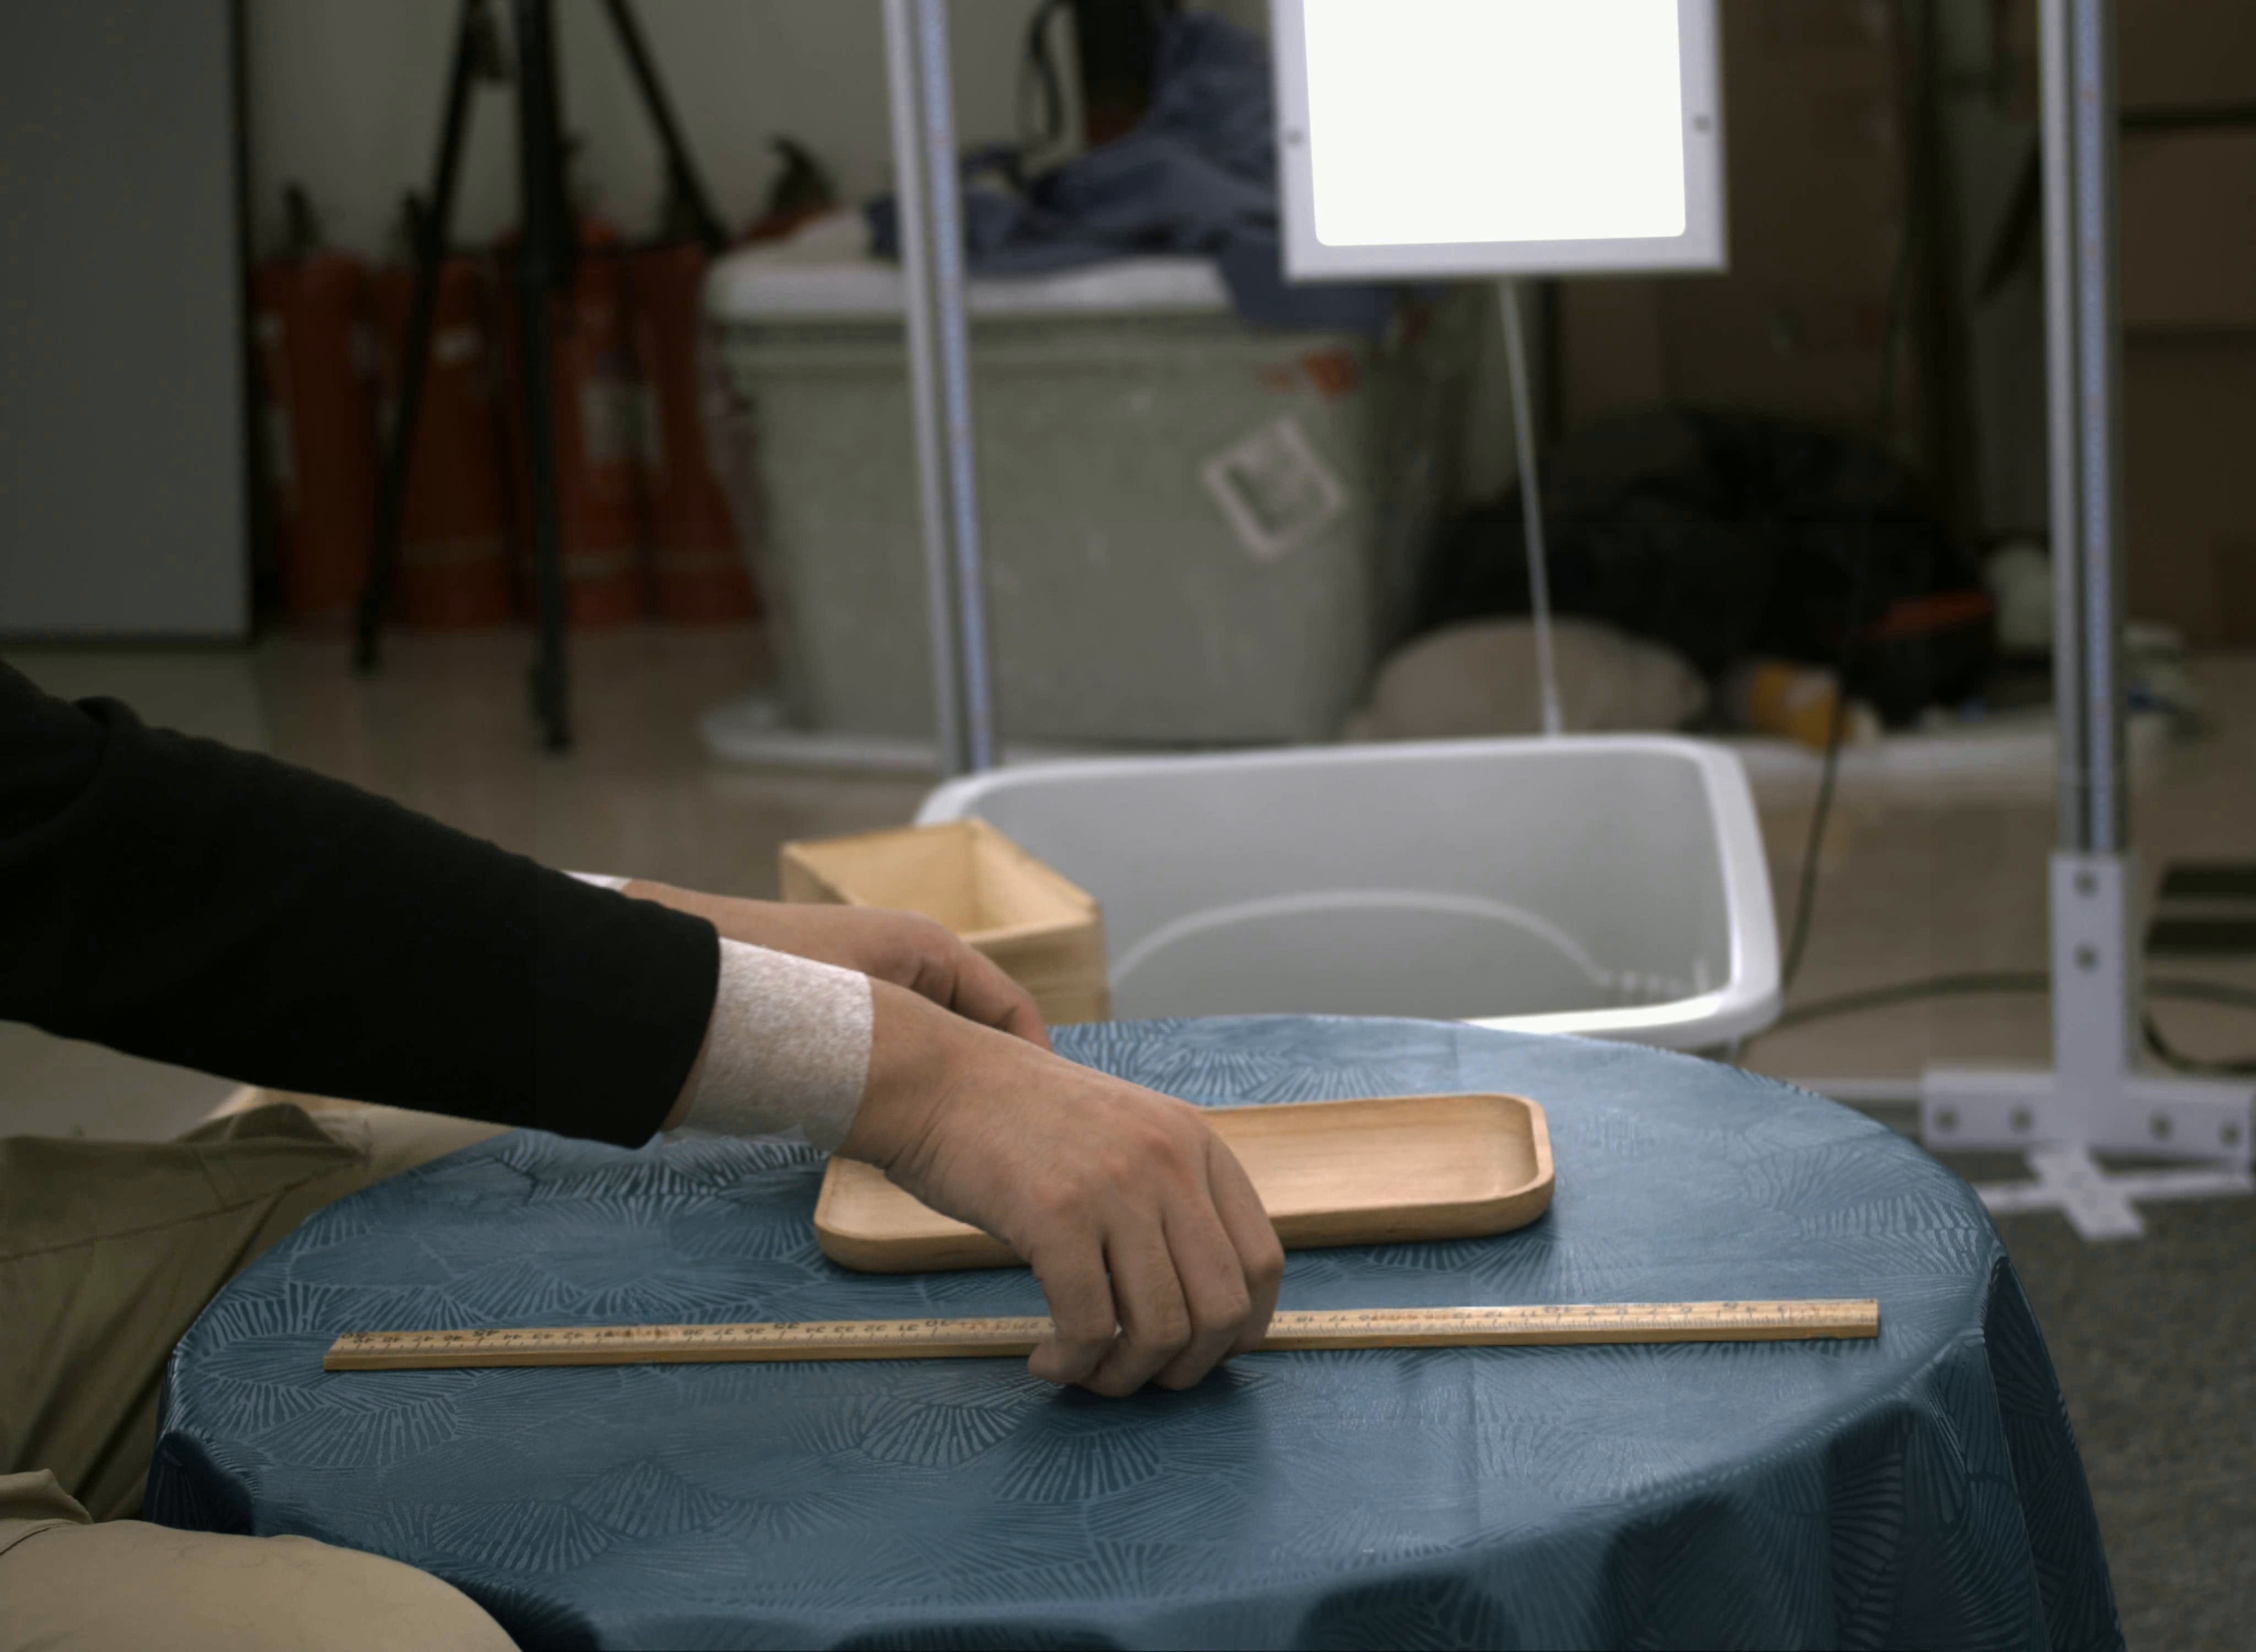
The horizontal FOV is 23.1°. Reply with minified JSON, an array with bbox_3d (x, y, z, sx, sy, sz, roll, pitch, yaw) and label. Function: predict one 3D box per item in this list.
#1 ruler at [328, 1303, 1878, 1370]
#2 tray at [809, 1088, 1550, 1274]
[{"bbox_3d":[-0.012,0.162,1.749,0.504,0.006,0.026,-2,12,12],"label":"ruler"},{"bbox_3d":[0.019,0.121,1.880,0.251,0.023,0.130,-5,12,6],"label":"tray"}]
